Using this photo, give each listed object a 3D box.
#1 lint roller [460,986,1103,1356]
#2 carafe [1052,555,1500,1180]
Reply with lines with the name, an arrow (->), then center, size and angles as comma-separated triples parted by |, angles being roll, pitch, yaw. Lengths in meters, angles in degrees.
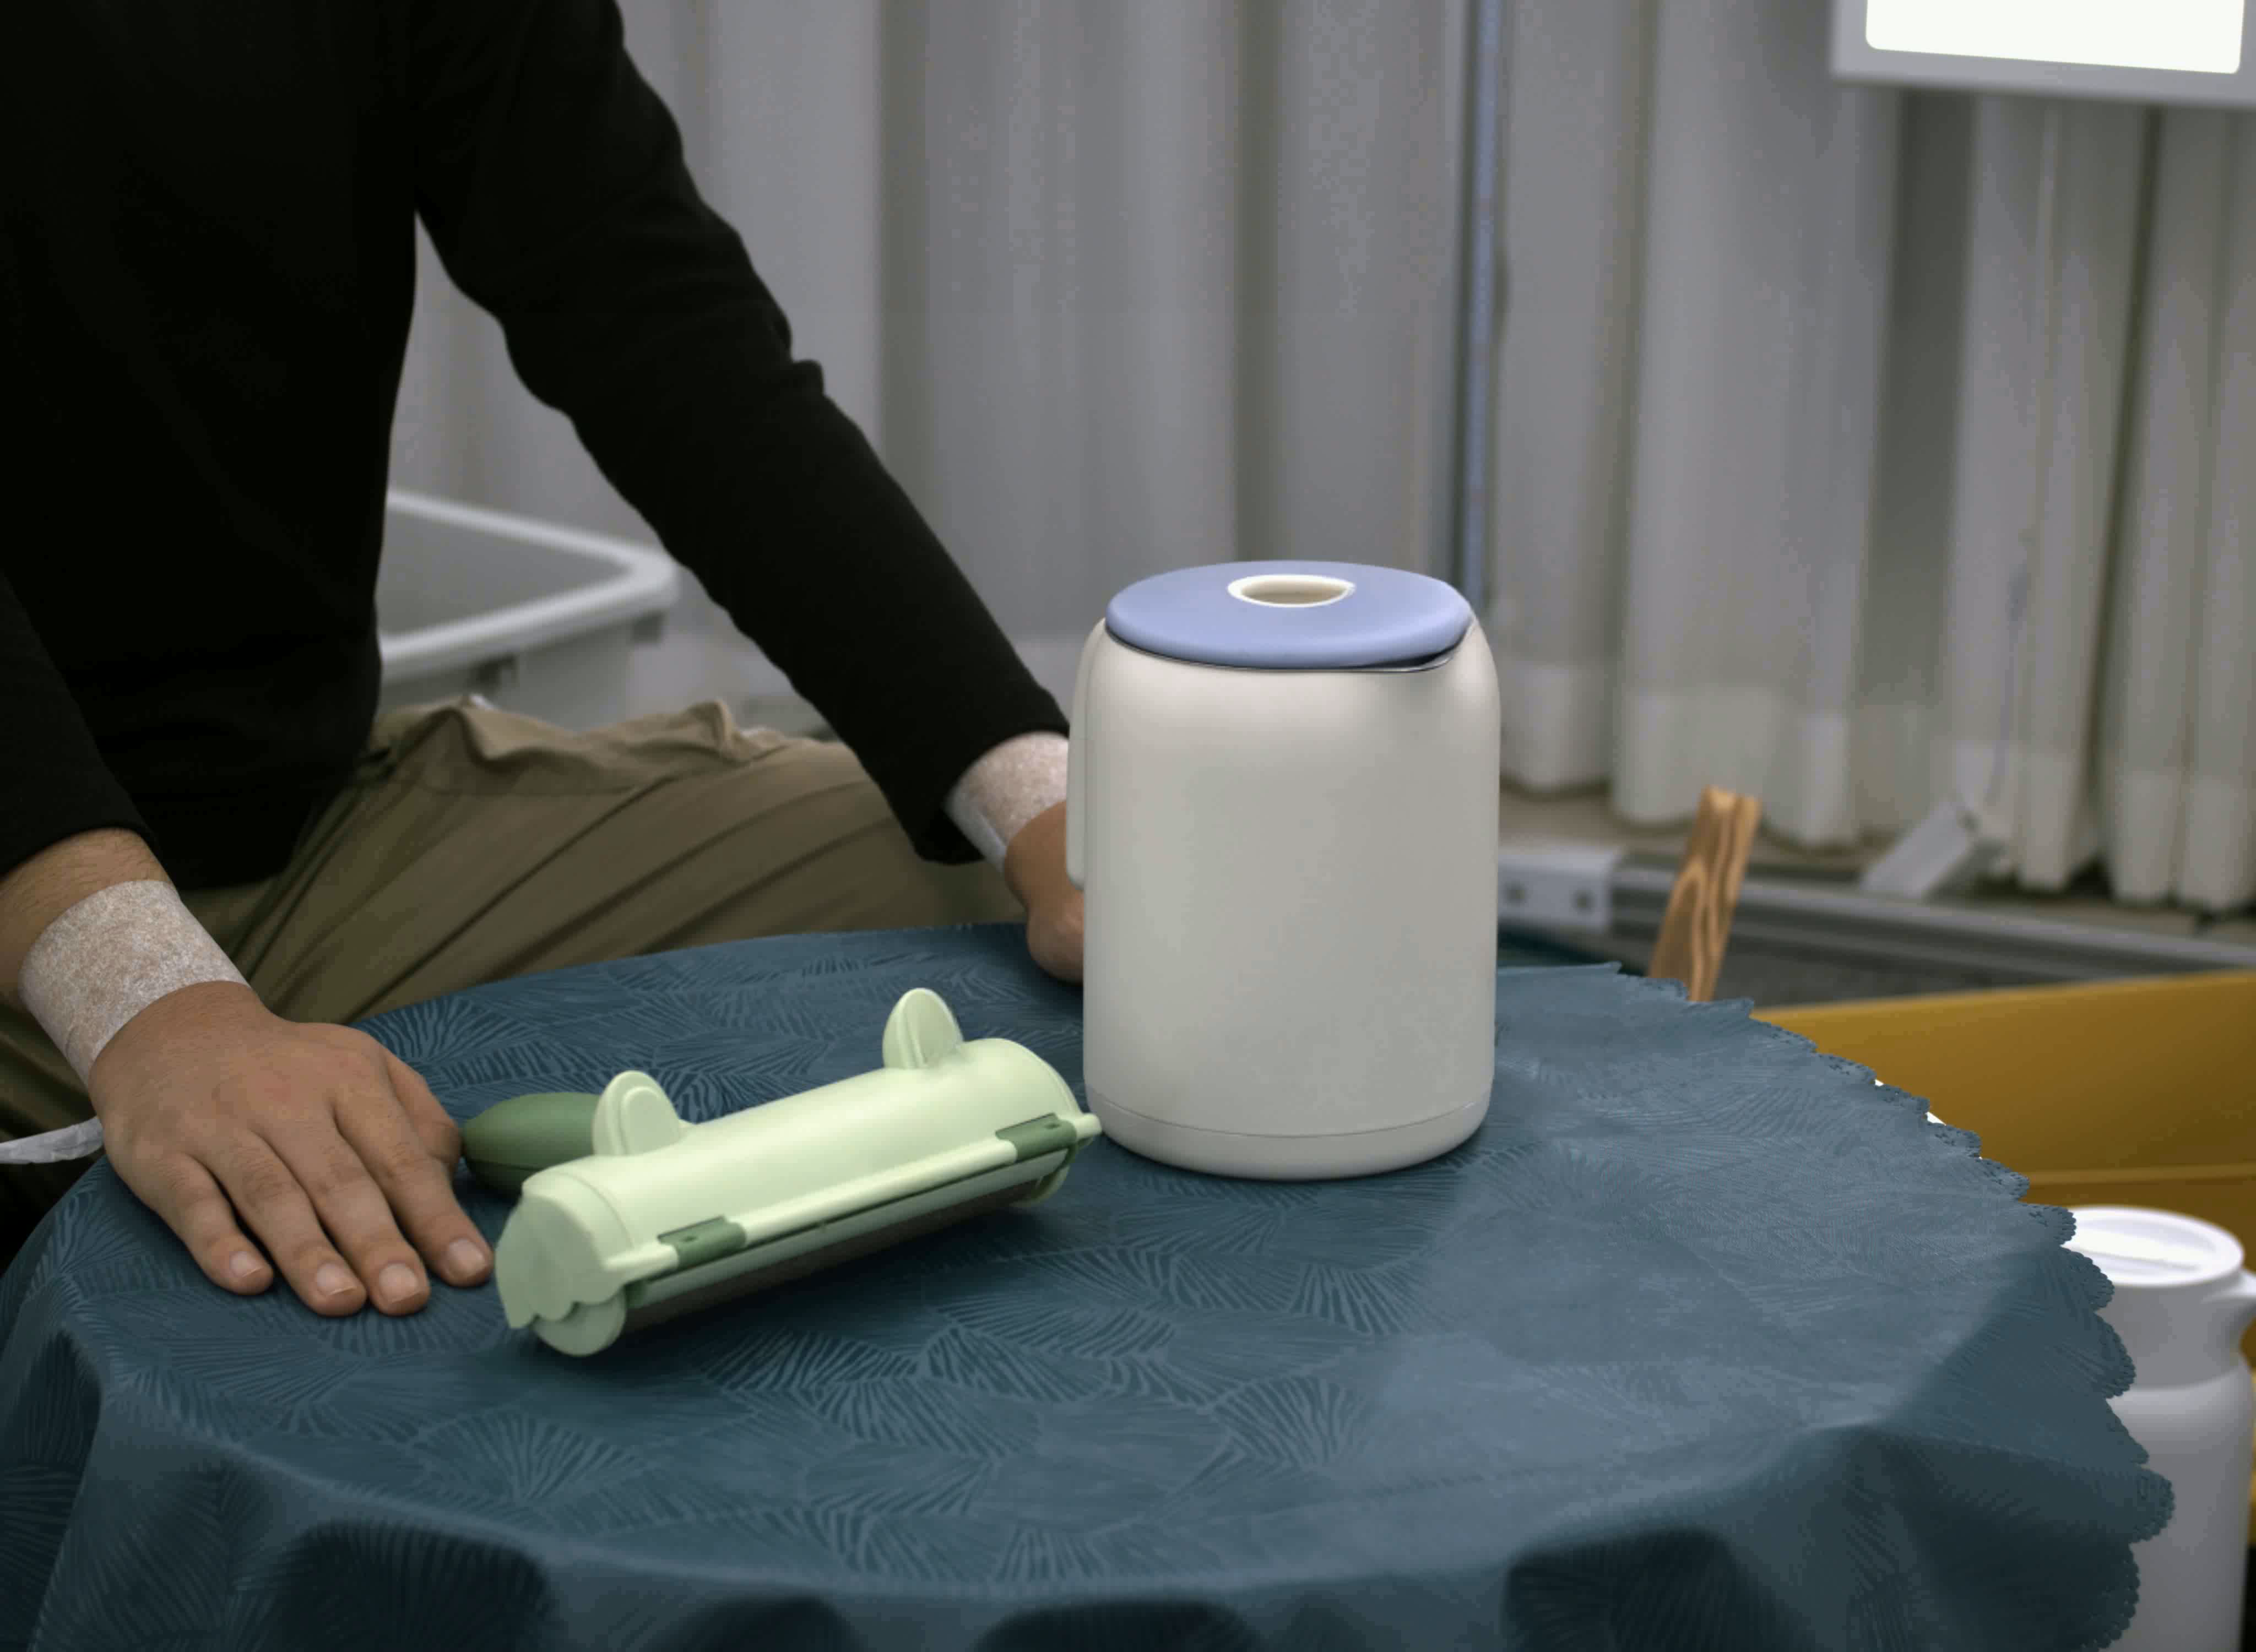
lint roller -> -0.136, 0.087, 1.564 | 0.181, 0.083, 0.199 | 17, 22, 40
carafe -> 0.037, 0.007, 1.680 | 0.133, 0.184, 0.188 | -11, 17, -35
